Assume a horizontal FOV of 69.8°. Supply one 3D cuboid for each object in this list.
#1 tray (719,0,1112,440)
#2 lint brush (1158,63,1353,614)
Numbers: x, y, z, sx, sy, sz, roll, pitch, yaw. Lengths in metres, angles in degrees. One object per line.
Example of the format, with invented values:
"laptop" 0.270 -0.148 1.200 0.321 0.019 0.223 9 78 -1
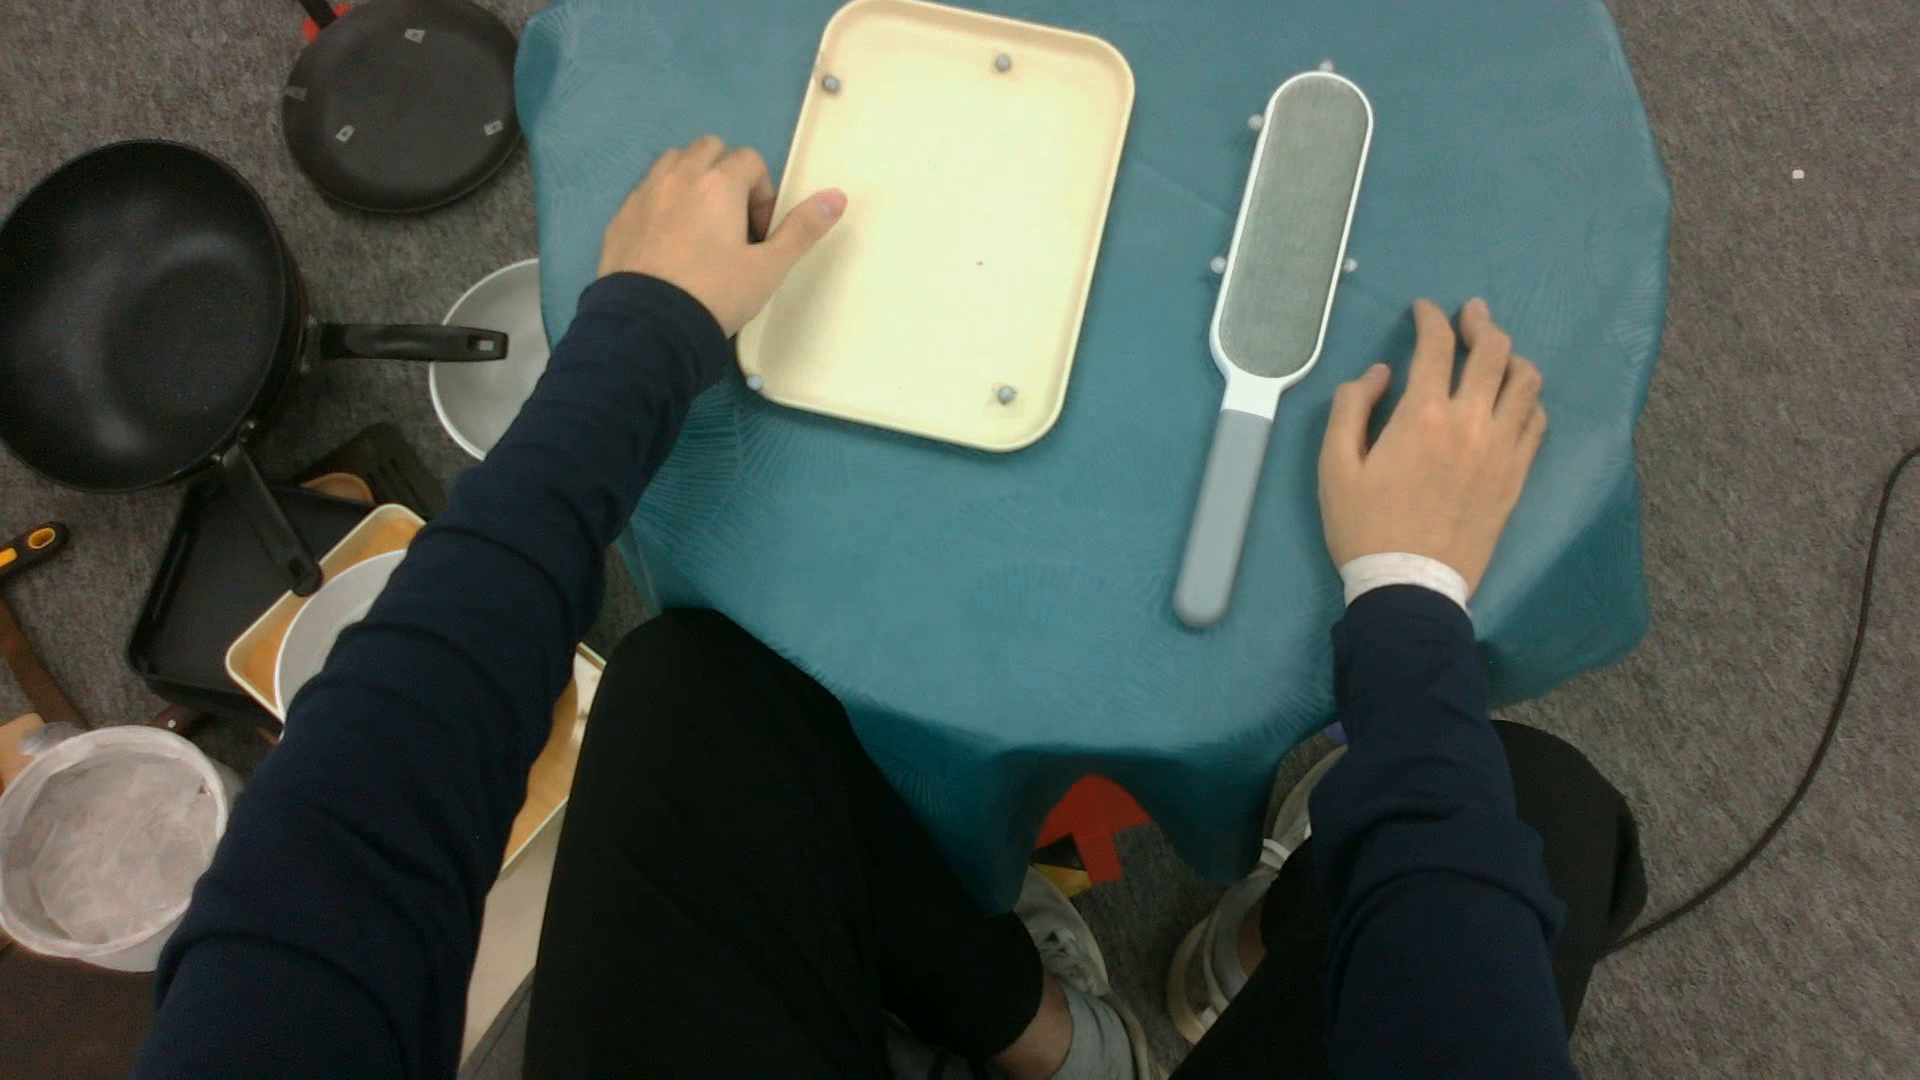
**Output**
"tray" -0.020 -0.173 0.721 0.171 0.017 0.240 12 76 1
"lint brush" 0.146 -0.109 0.703 0.060 0.021 0.309 16 76 -2
